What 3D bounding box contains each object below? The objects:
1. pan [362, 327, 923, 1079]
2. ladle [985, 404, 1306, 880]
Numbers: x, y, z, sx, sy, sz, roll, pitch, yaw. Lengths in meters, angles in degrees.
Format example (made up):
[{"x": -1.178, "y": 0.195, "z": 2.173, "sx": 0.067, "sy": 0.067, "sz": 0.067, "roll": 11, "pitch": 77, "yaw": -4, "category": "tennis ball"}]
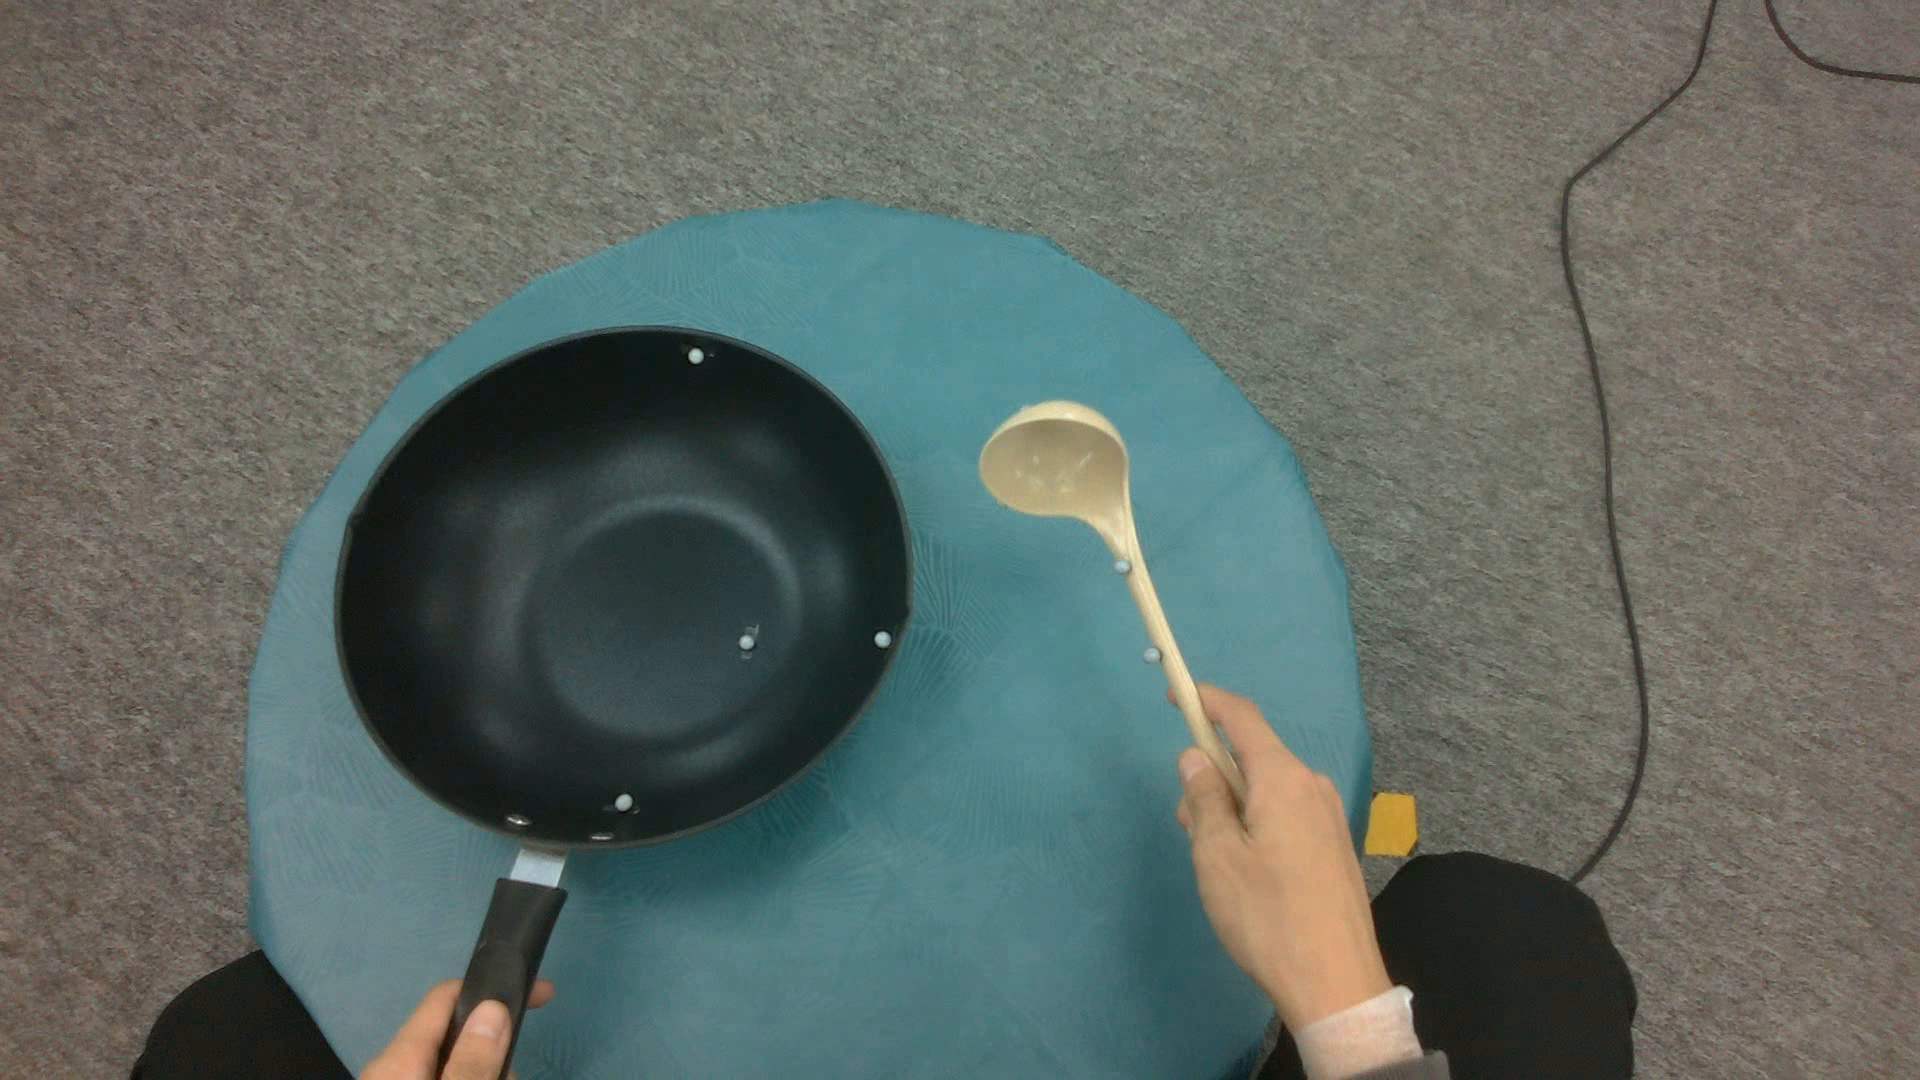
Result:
[{"x": -0.178, "y": 0.111, "z": 0.698, "sx": 0.288, "sy": 0.086, "sz": 0.465, "roll": 10, "pitch": 68, "yaw": 4, "category": "pan"}, {"x": 0.086, "y": 0.048, "z": 0.661, "sx": 0.072, "sy": 0.073, "sz": 0.255, "roll": -38, "pitch": 63, "yaw": 31, "category": "ladle"}]
